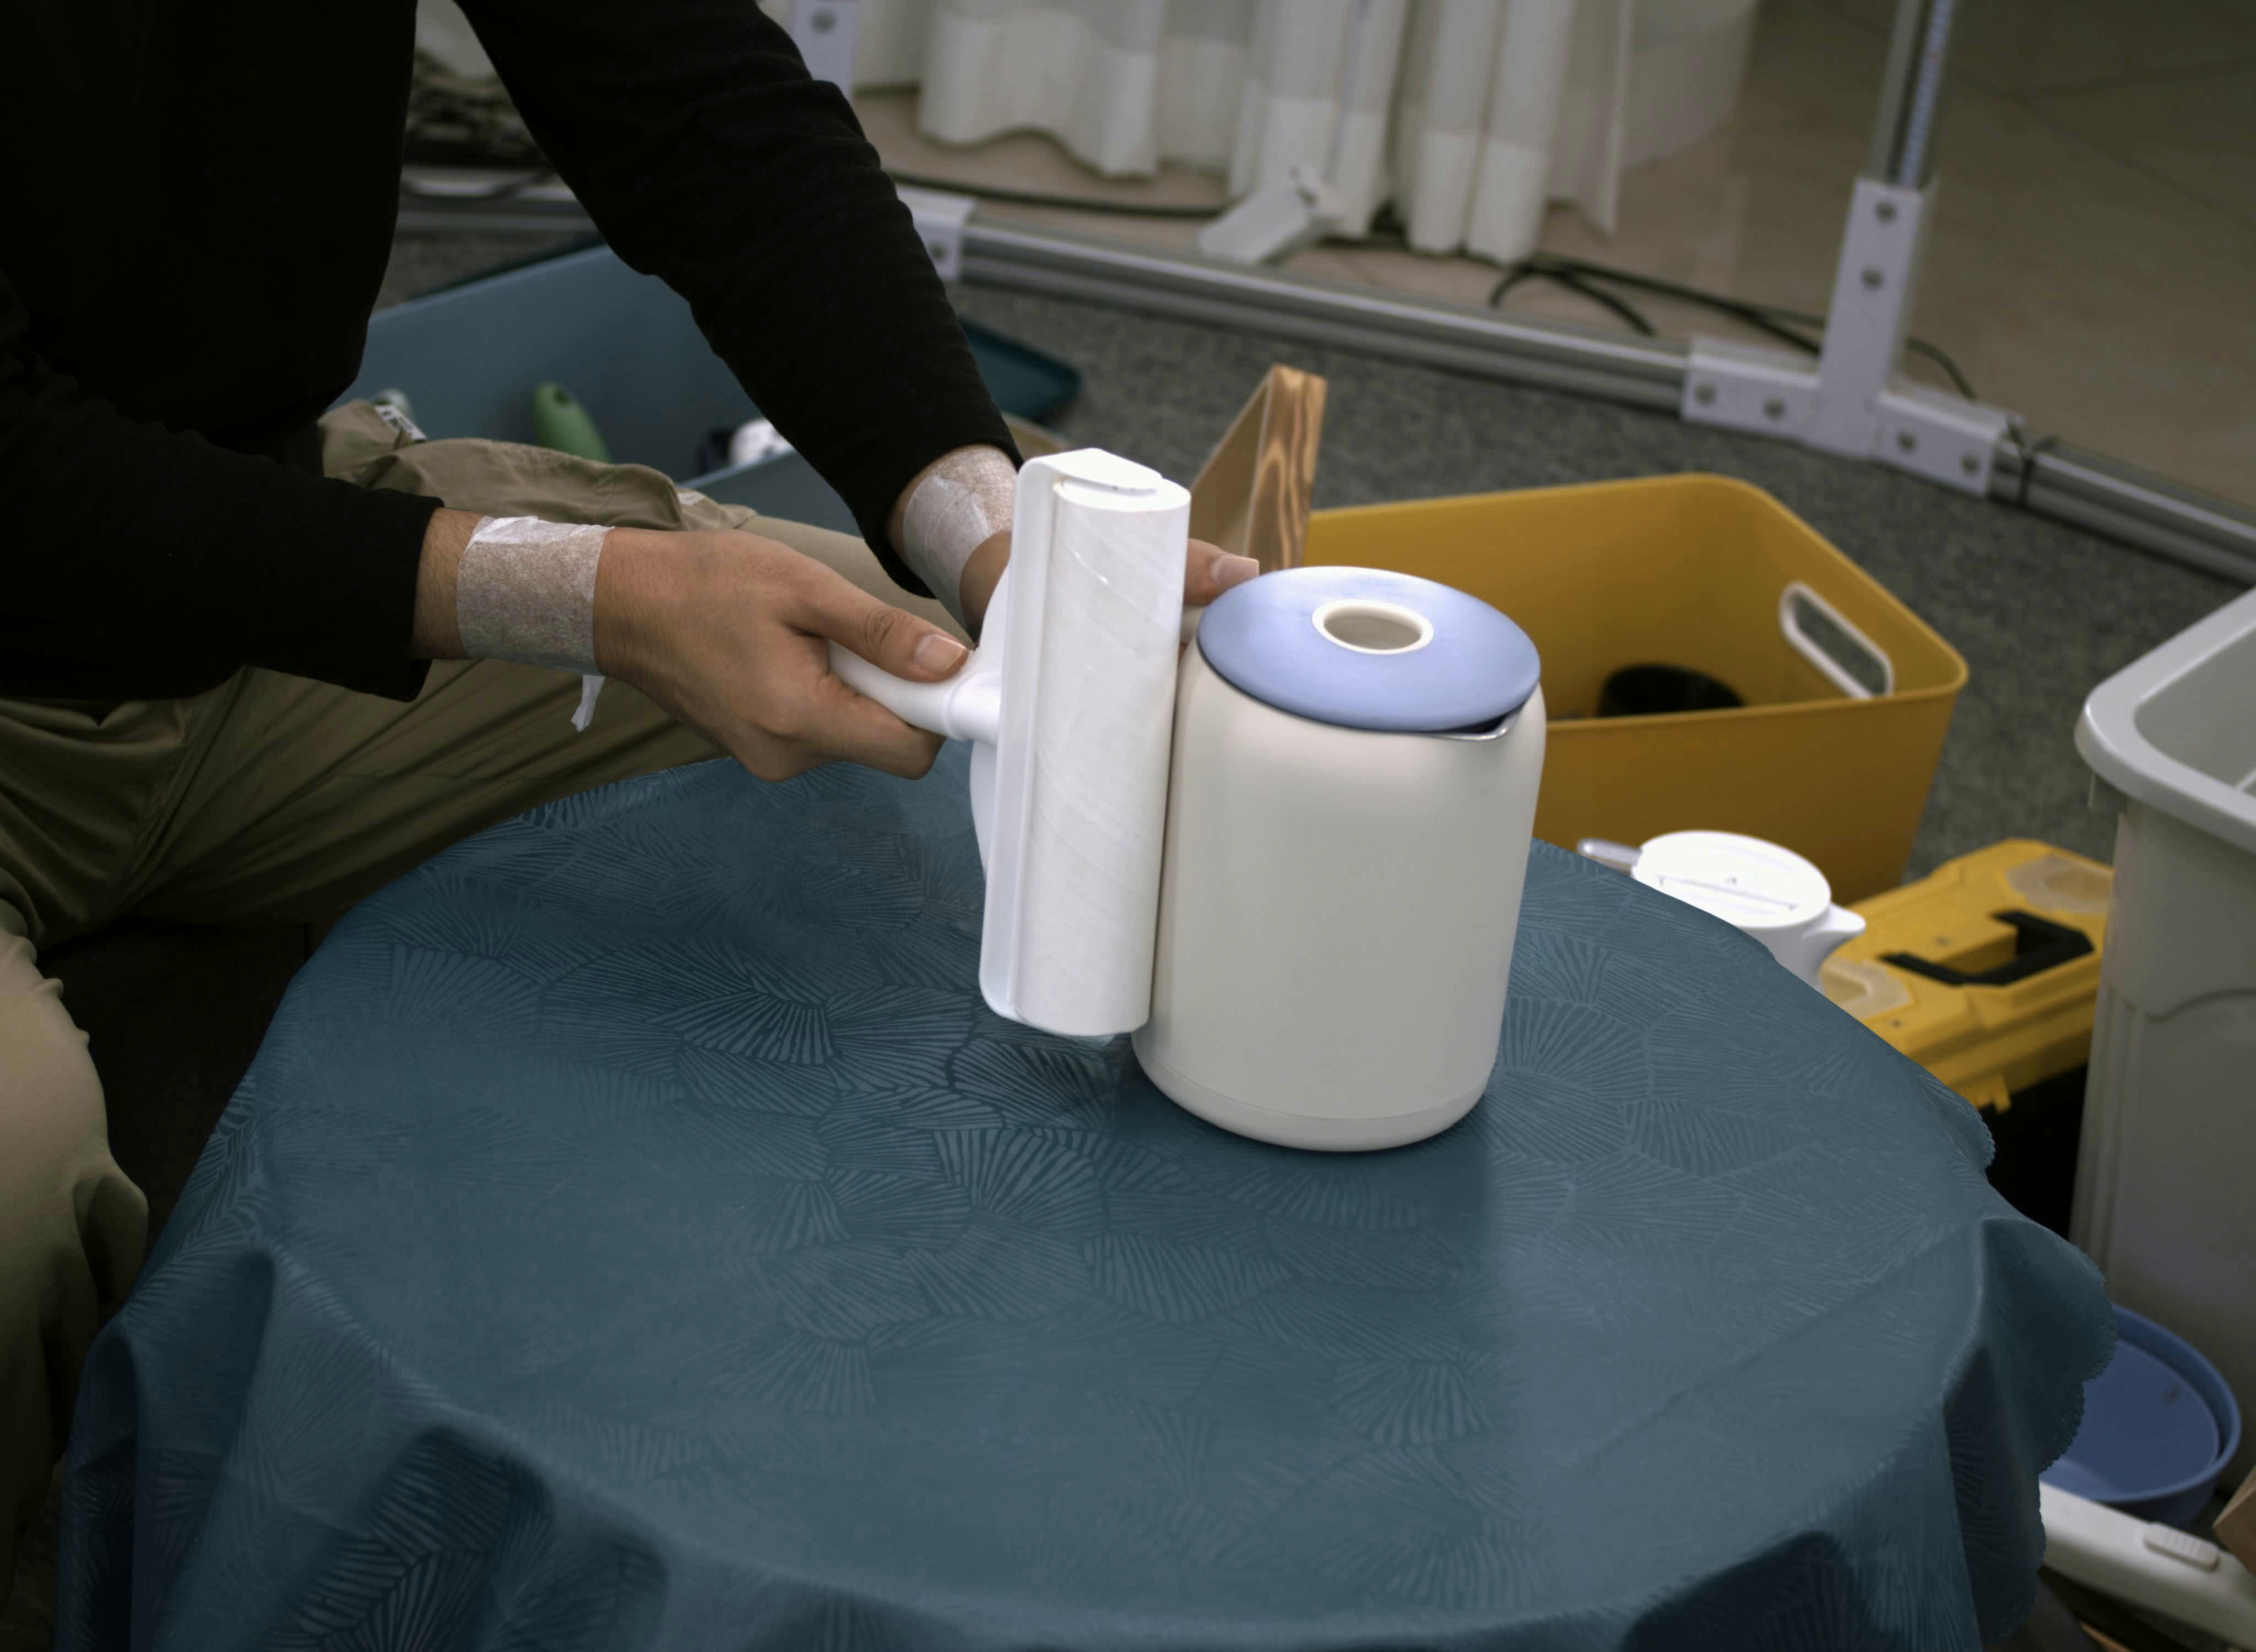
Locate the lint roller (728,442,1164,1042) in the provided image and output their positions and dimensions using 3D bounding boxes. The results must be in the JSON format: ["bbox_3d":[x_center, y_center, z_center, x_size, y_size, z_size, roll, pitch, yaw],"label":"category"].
[{"bbox_3d":[-0.073,-0.048,1.878,0.048,0.202,0.227,-14,24,-41],"label":"lint roller"}]

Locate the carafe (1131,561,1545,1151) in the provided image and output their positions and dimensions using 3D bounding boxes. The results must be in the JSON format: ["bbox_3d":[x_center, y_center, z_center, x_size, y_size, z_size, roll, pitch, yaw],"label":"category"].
[{"bbox_3d":[0.058,0.000,1.868,0.131,0.182,0.192,-14,32,-37],"label":"carafe"}]
